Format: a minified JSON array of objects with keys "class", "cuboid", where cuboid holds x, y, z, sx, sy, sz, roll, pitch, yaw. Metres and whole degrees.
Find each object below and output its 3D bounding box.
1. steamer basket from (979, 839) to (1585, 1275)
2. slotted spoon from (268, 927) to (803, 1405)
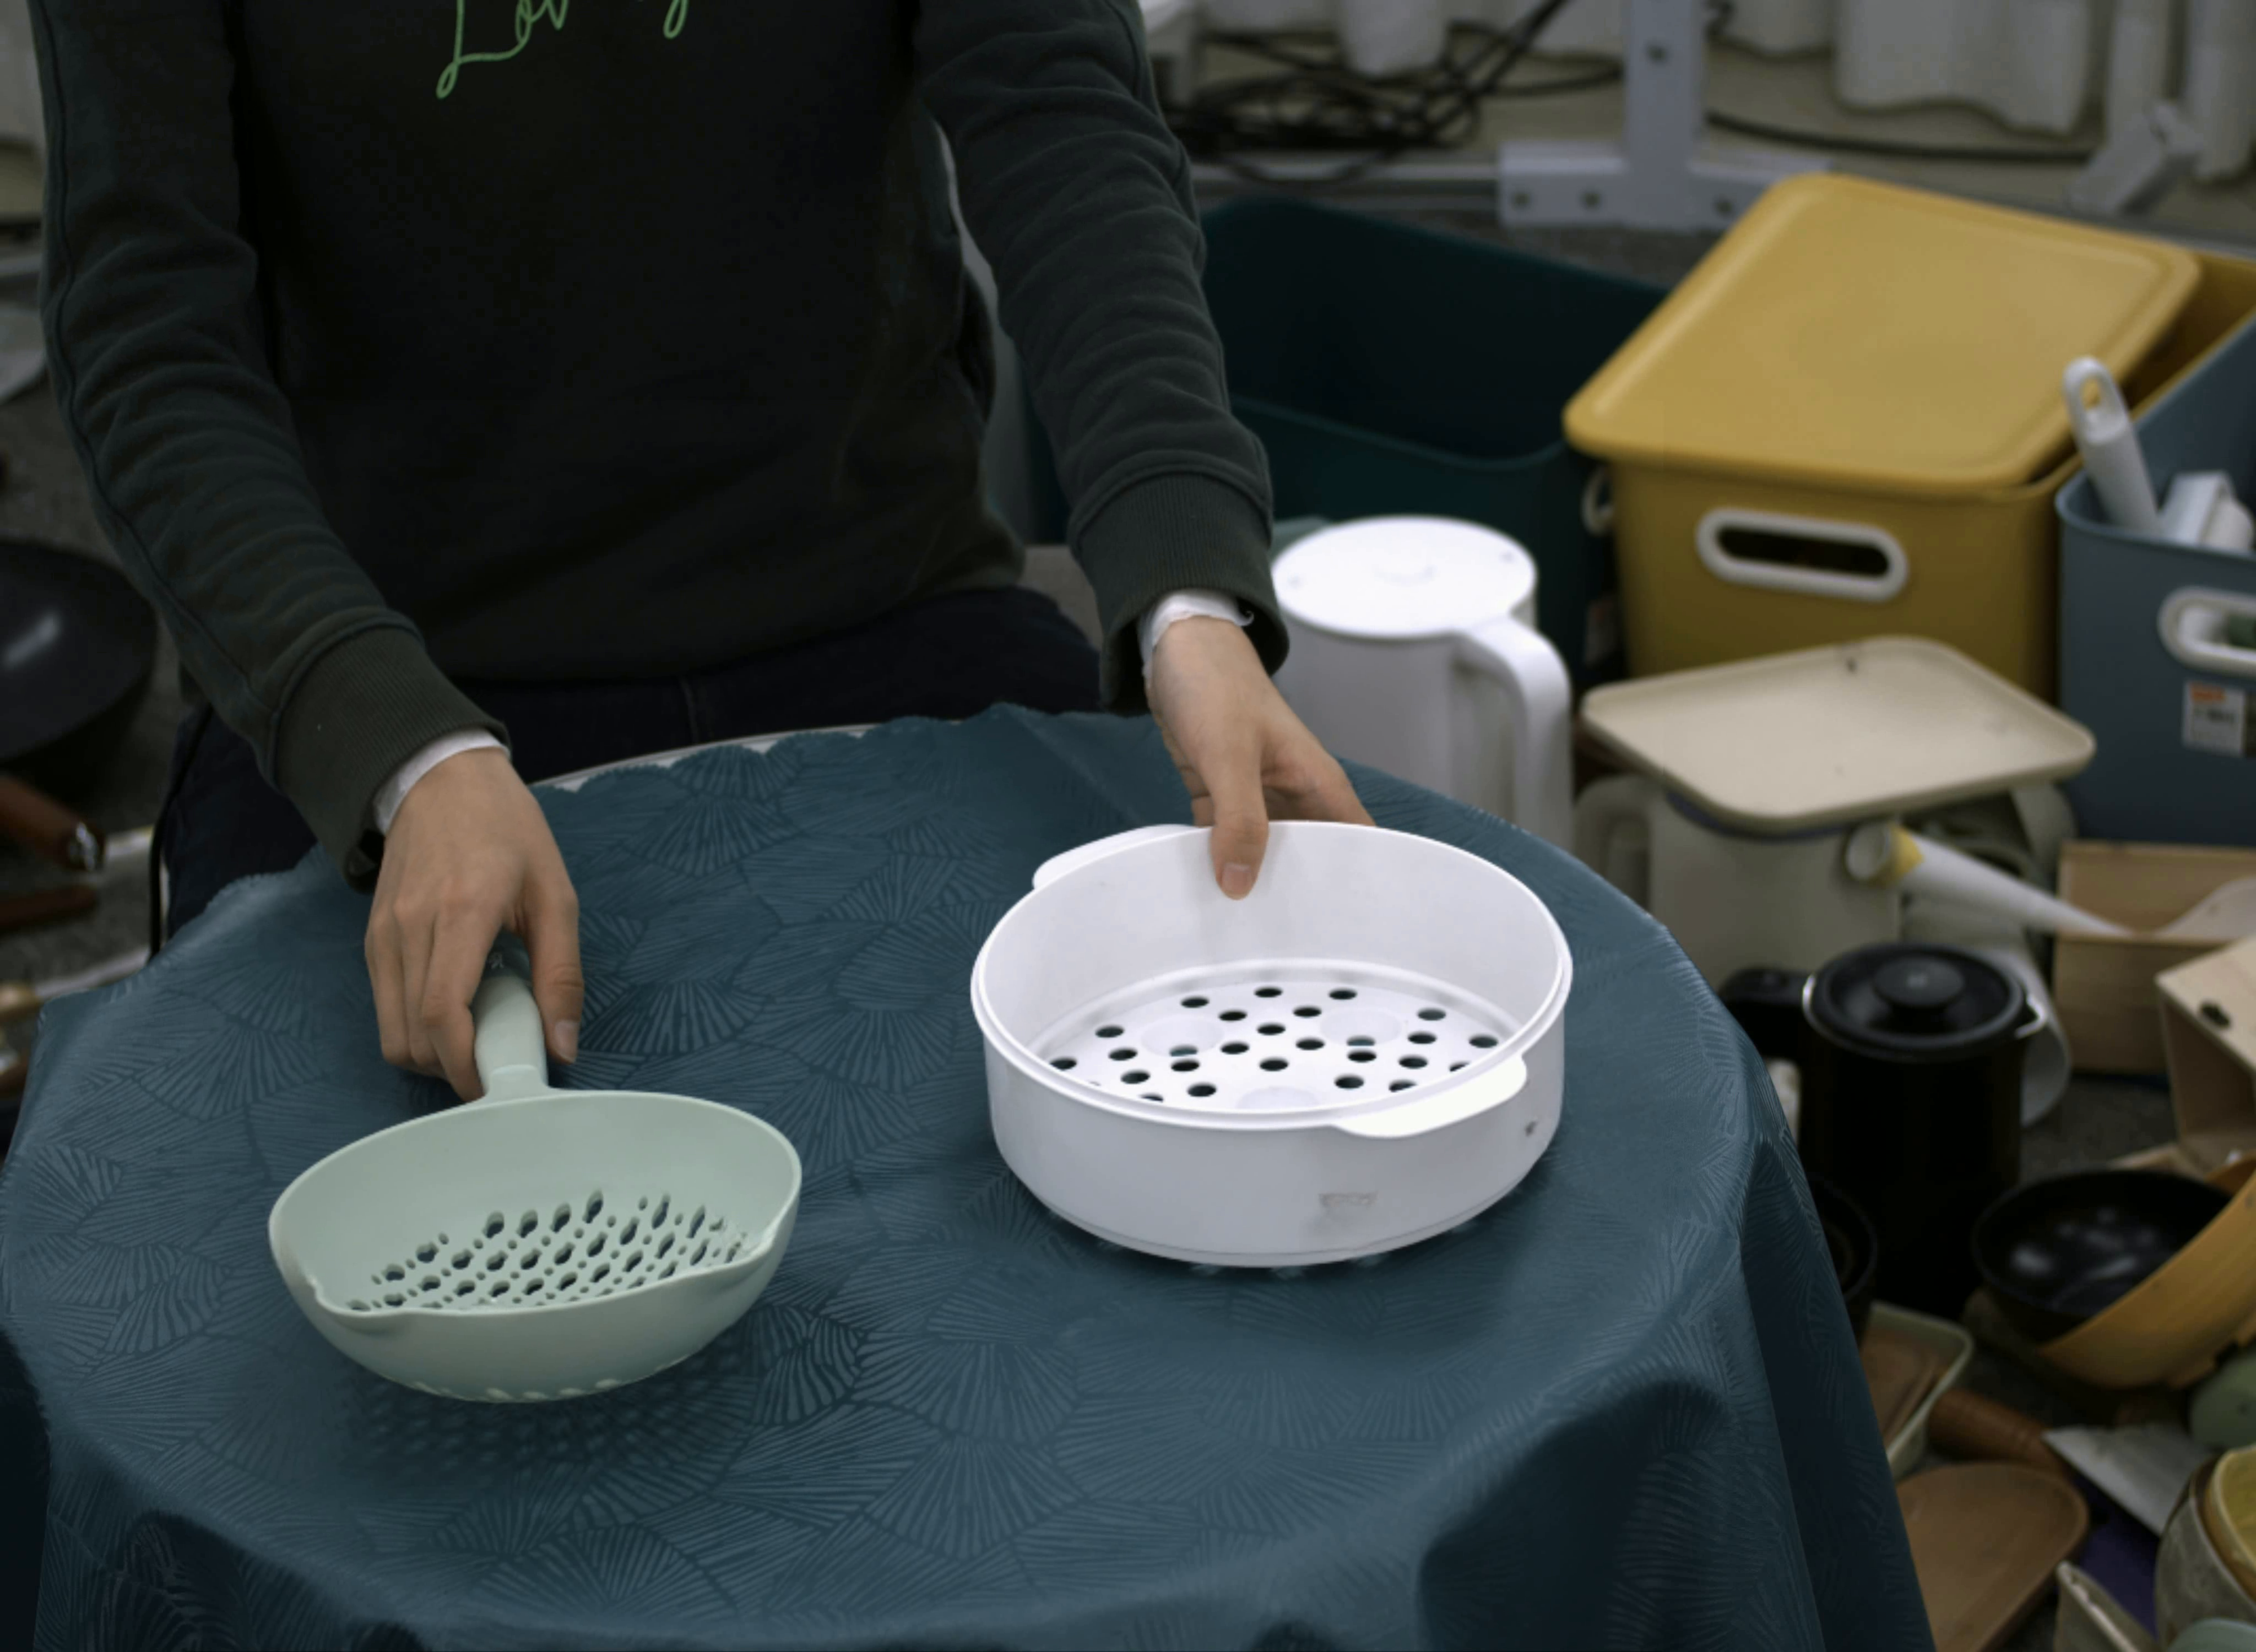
[{"class":"steamer basket","cuboid":[0.052,0.077,1.873,0.203,0.068,0.231,-17,30,-28]},{"class":"slotted spoon","cuboid":[-0.200,0.097,1.859,0.169,0.074,0.363,-7,28,-7]}]
